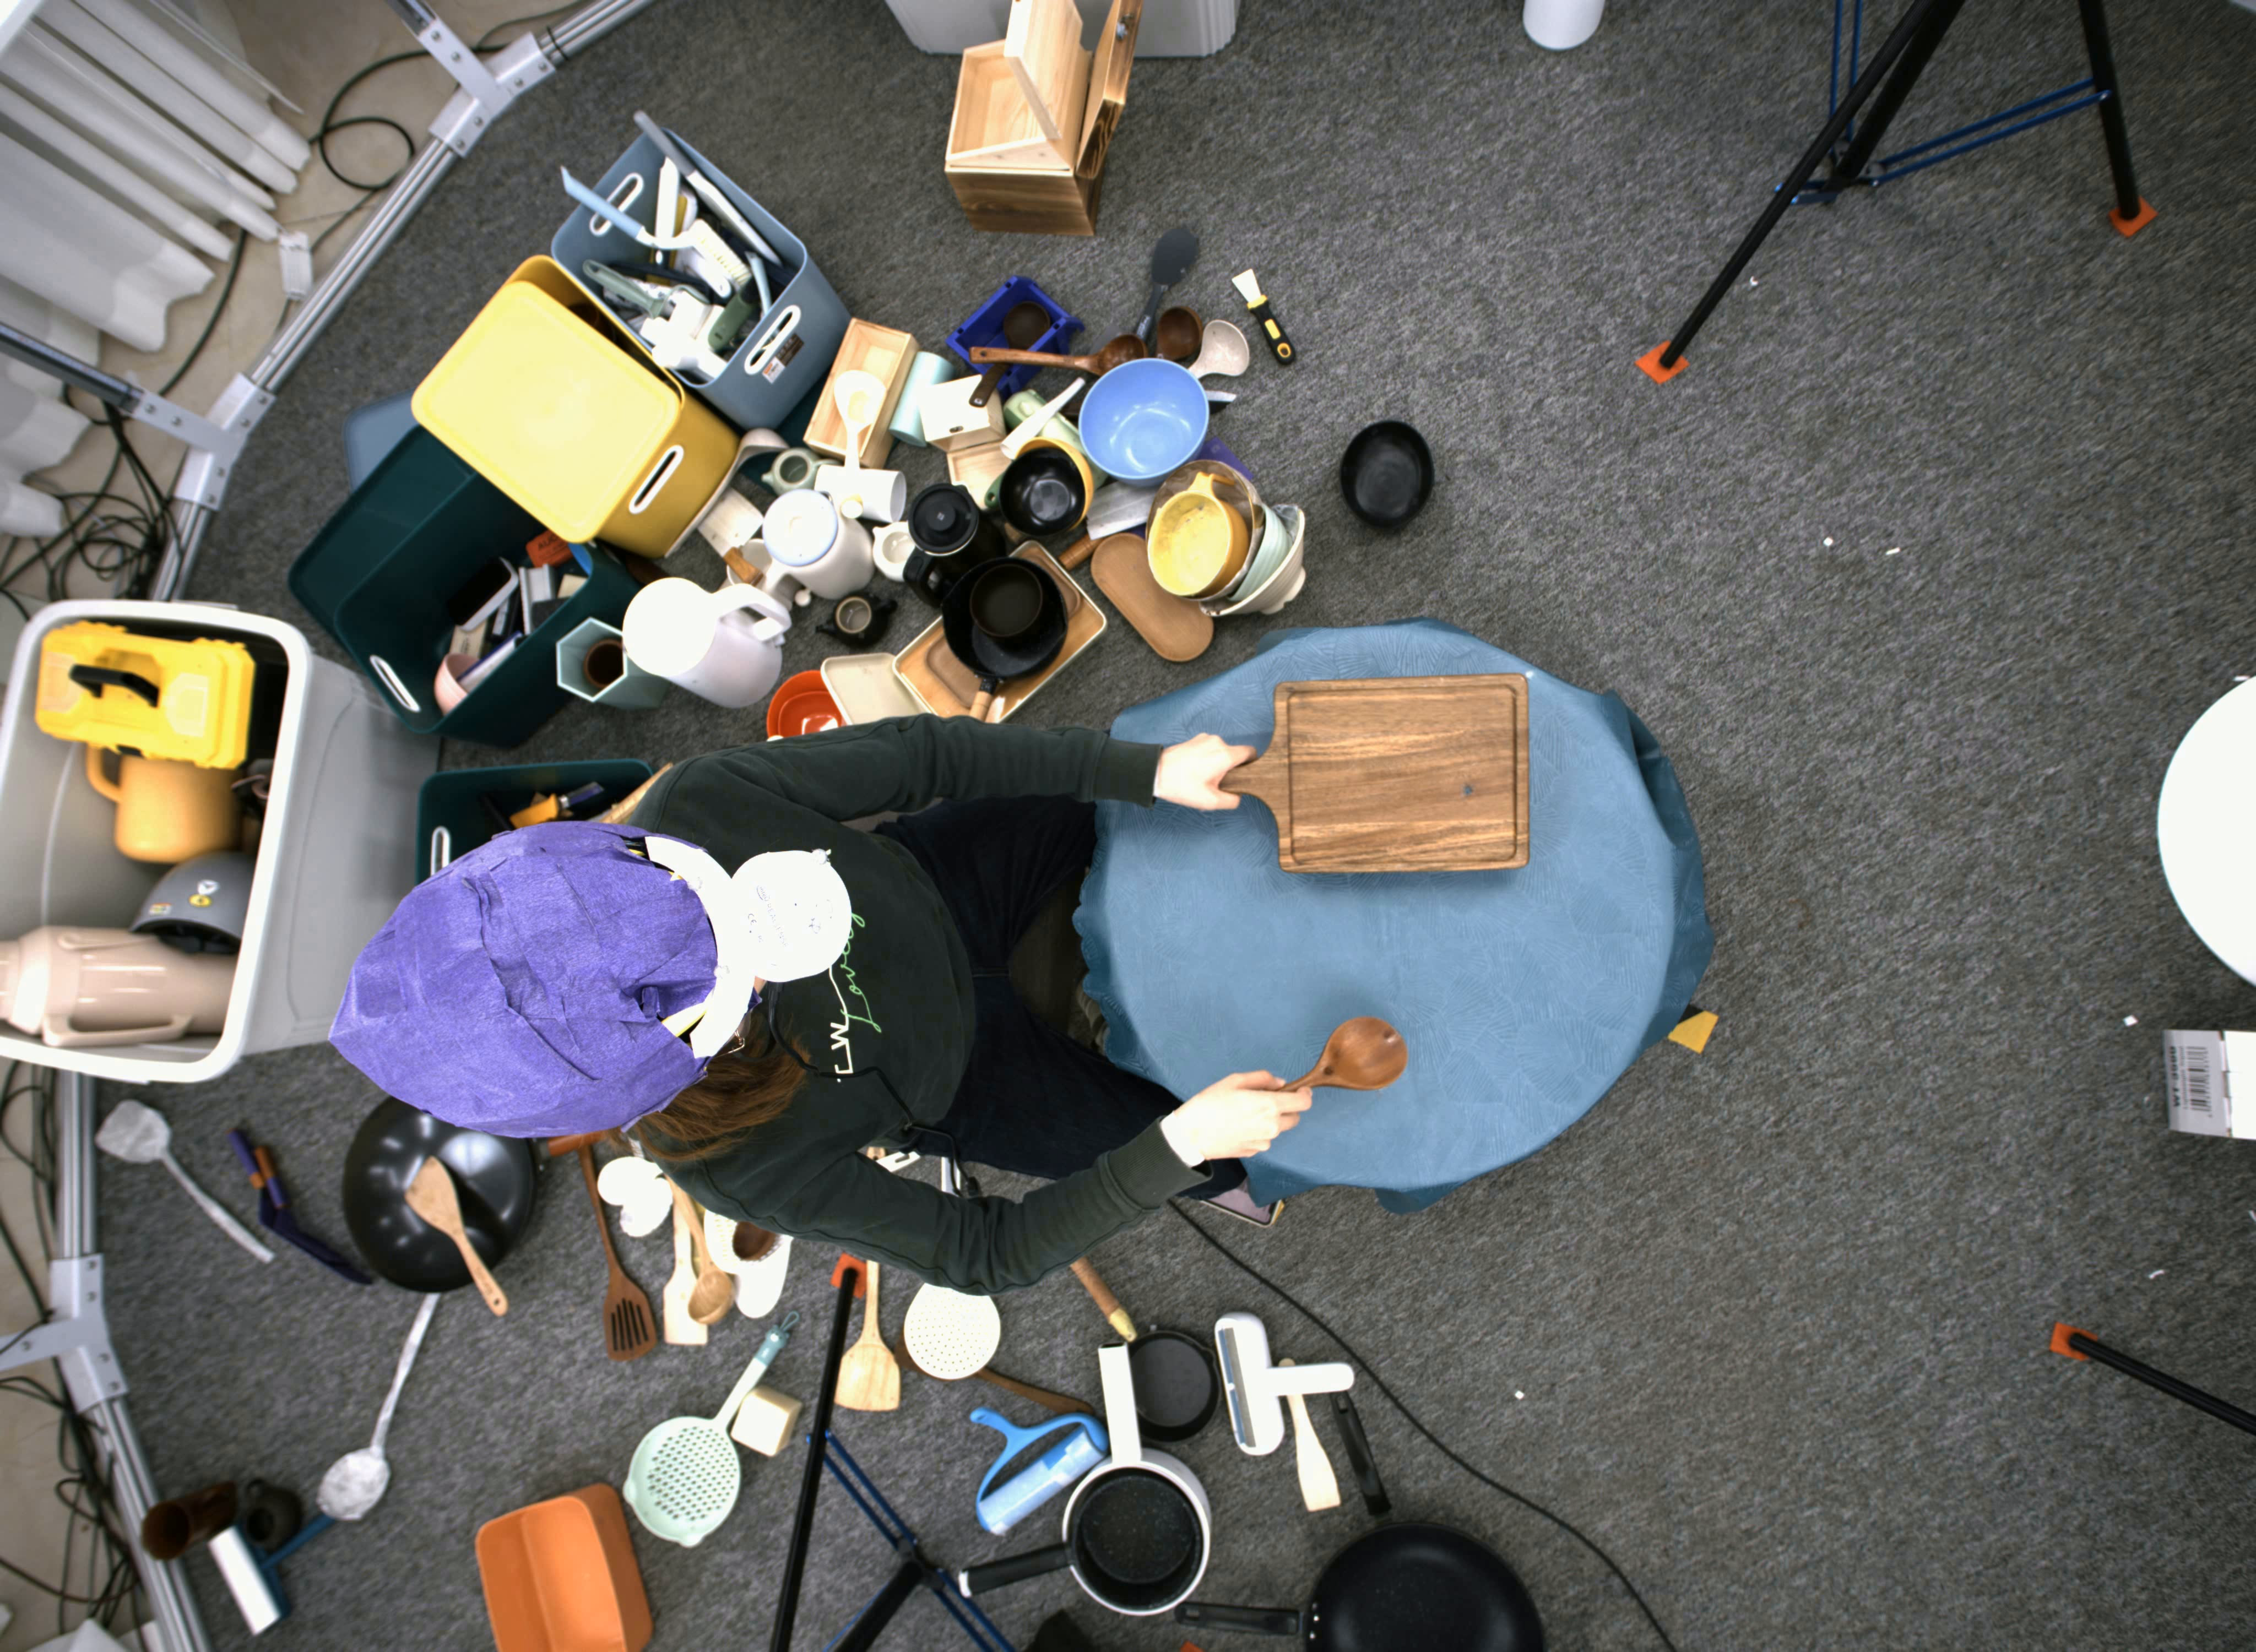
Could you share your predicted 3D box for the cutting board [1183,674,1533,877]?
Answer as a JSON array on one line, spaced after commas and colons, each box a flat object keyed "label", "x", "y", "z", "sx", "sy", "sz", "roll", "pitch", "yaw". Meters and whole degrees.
[{"label": "cutting board", "x": 0.231, "y": -0.050, "z": 1.400, "sx": 0.353, "sy": 0.023, "sz": 0.203, "roll": -1, "pitch": 102, "yaw": 10}]

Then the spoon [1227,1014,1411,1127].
[{"label": "spoon", "x": 0.183, "y": 0.236, "z": 1.315, "sx": 0.213, "sy": 0.018, "sz": 0.074, "roll": -18, "pitch": 69, "yaw": -30}]
